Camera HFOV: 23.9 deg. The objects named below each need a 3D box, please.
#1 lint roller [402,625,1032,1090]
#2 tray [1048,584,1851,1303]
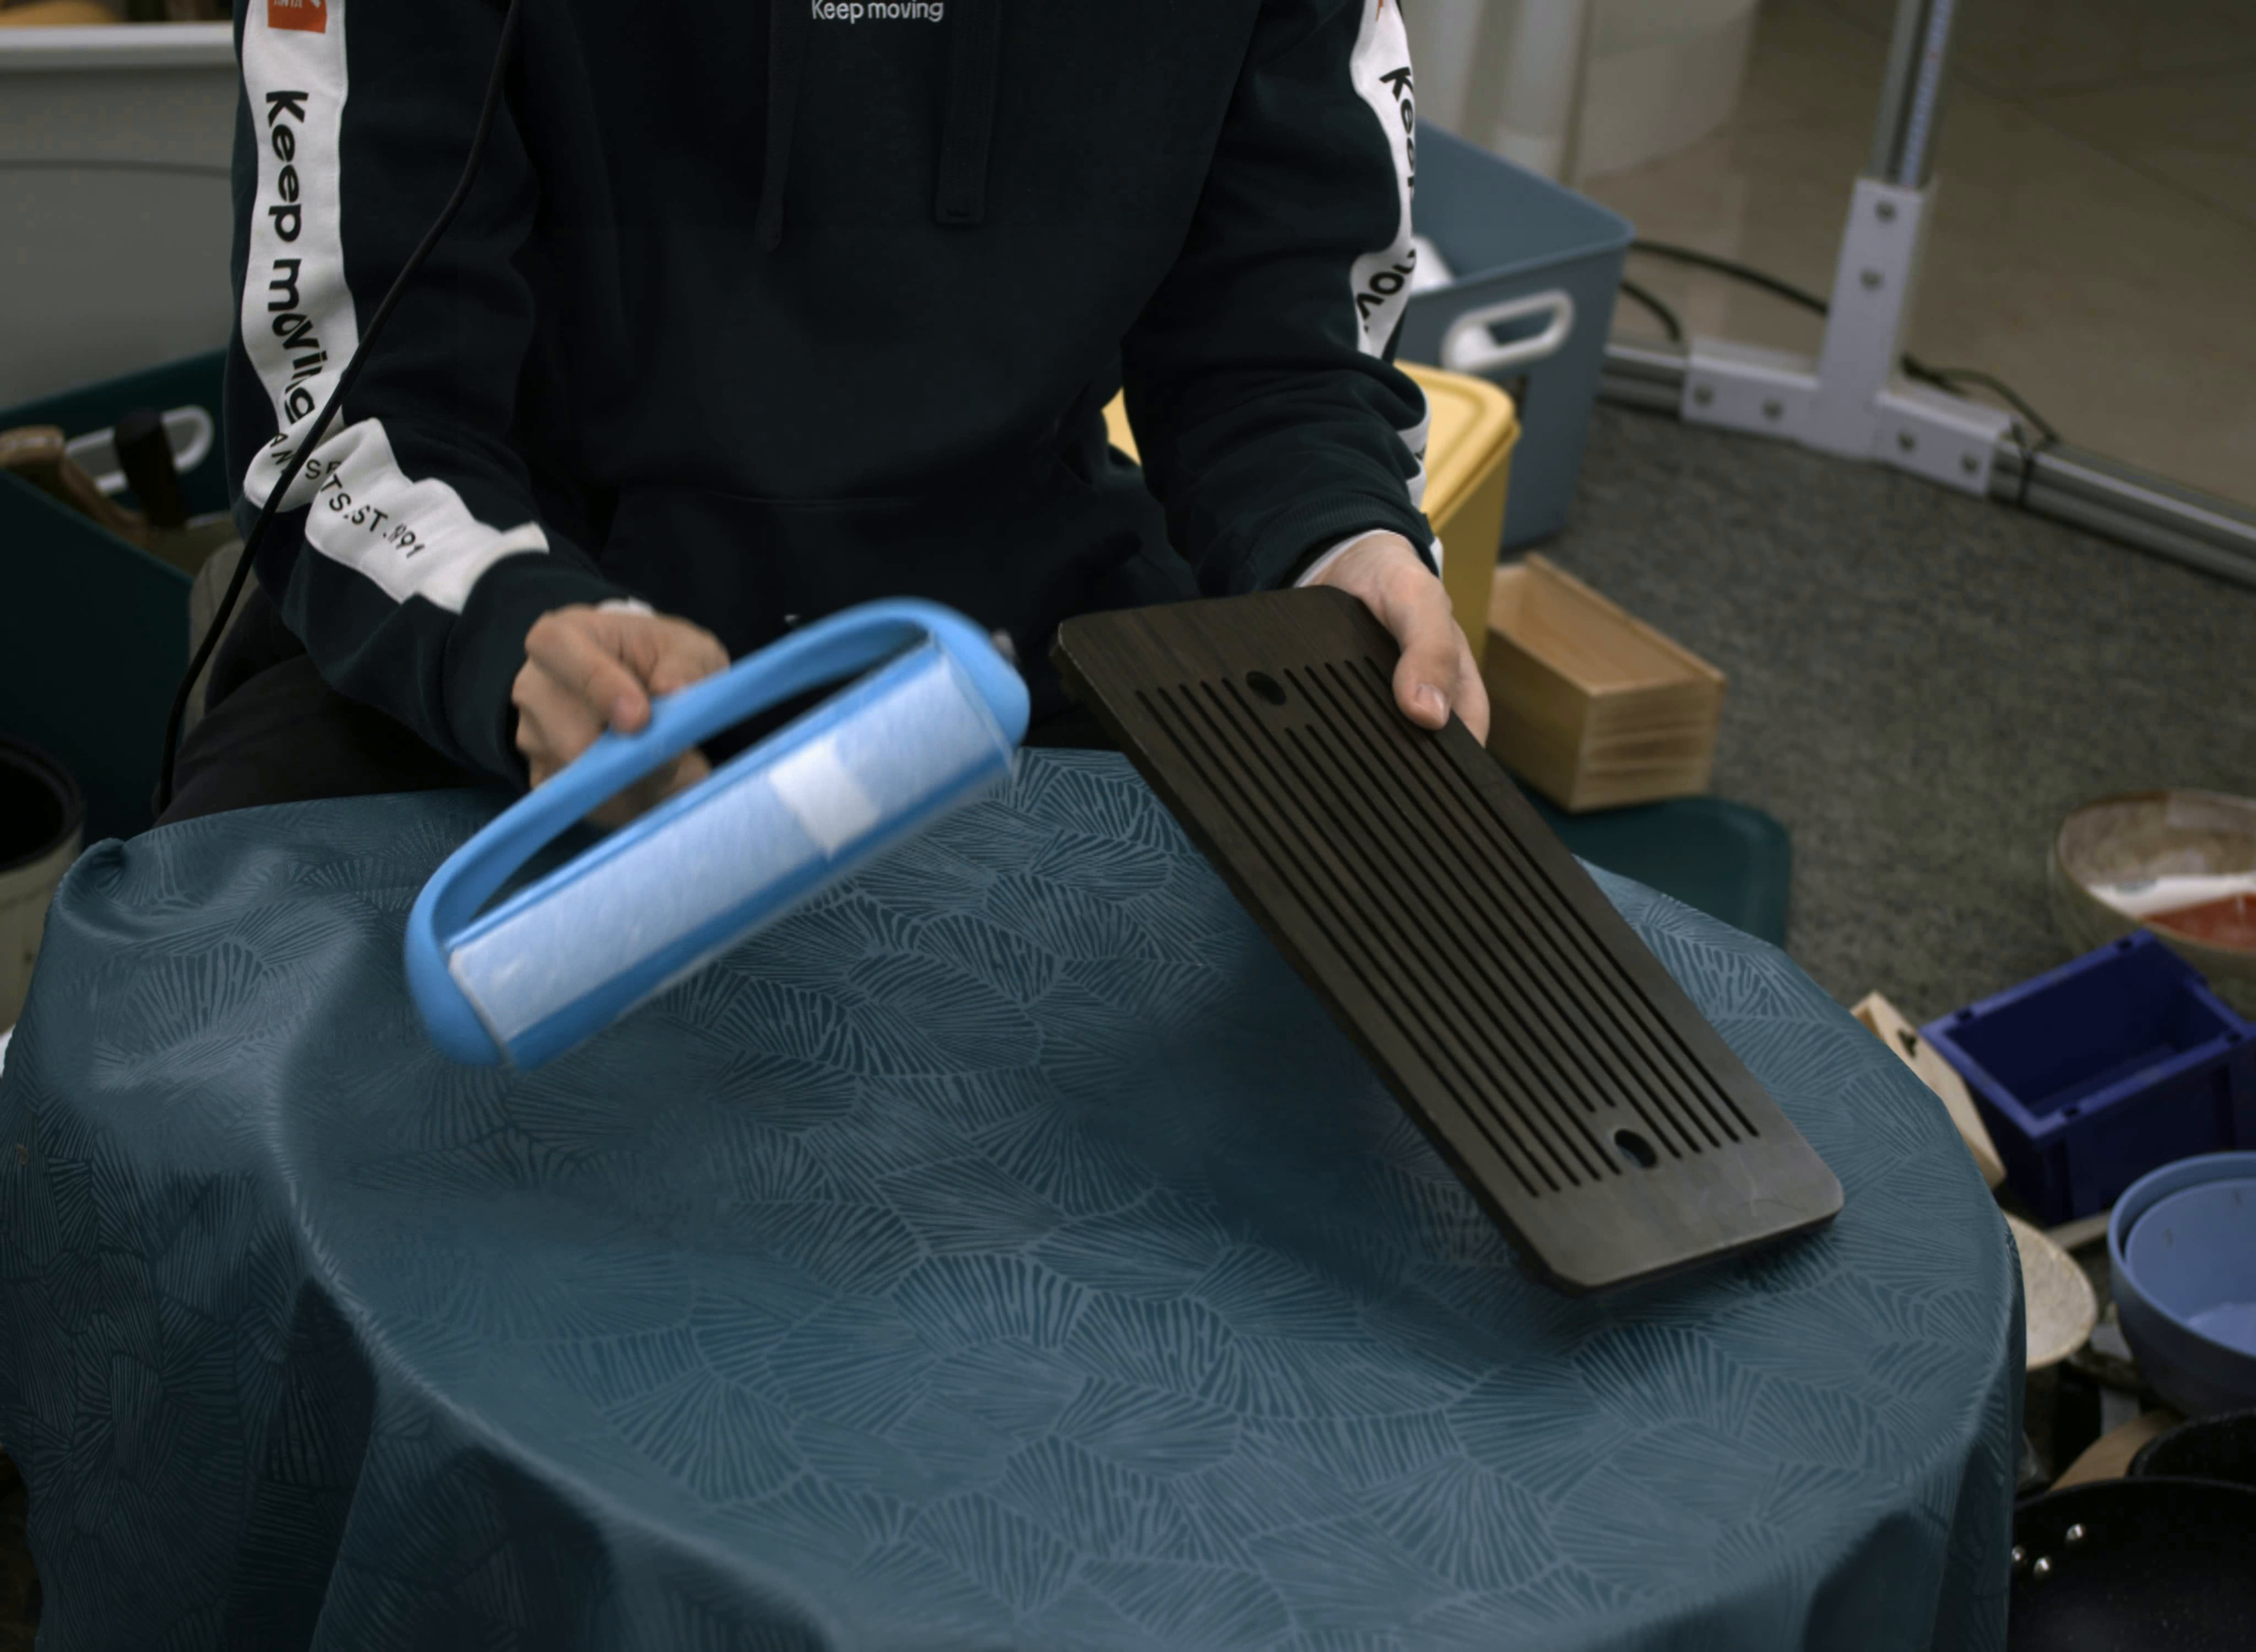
[{"bbox_3d":[-0.154,-0.004,1.804,0.228,0.067,0.181,-33,27,-9],"label":"lint roller"},{"bbox_3d":[0.108,0.036,1.830,0.169,0.018,0.308,-10,53,-47],"label":"tray"}]
